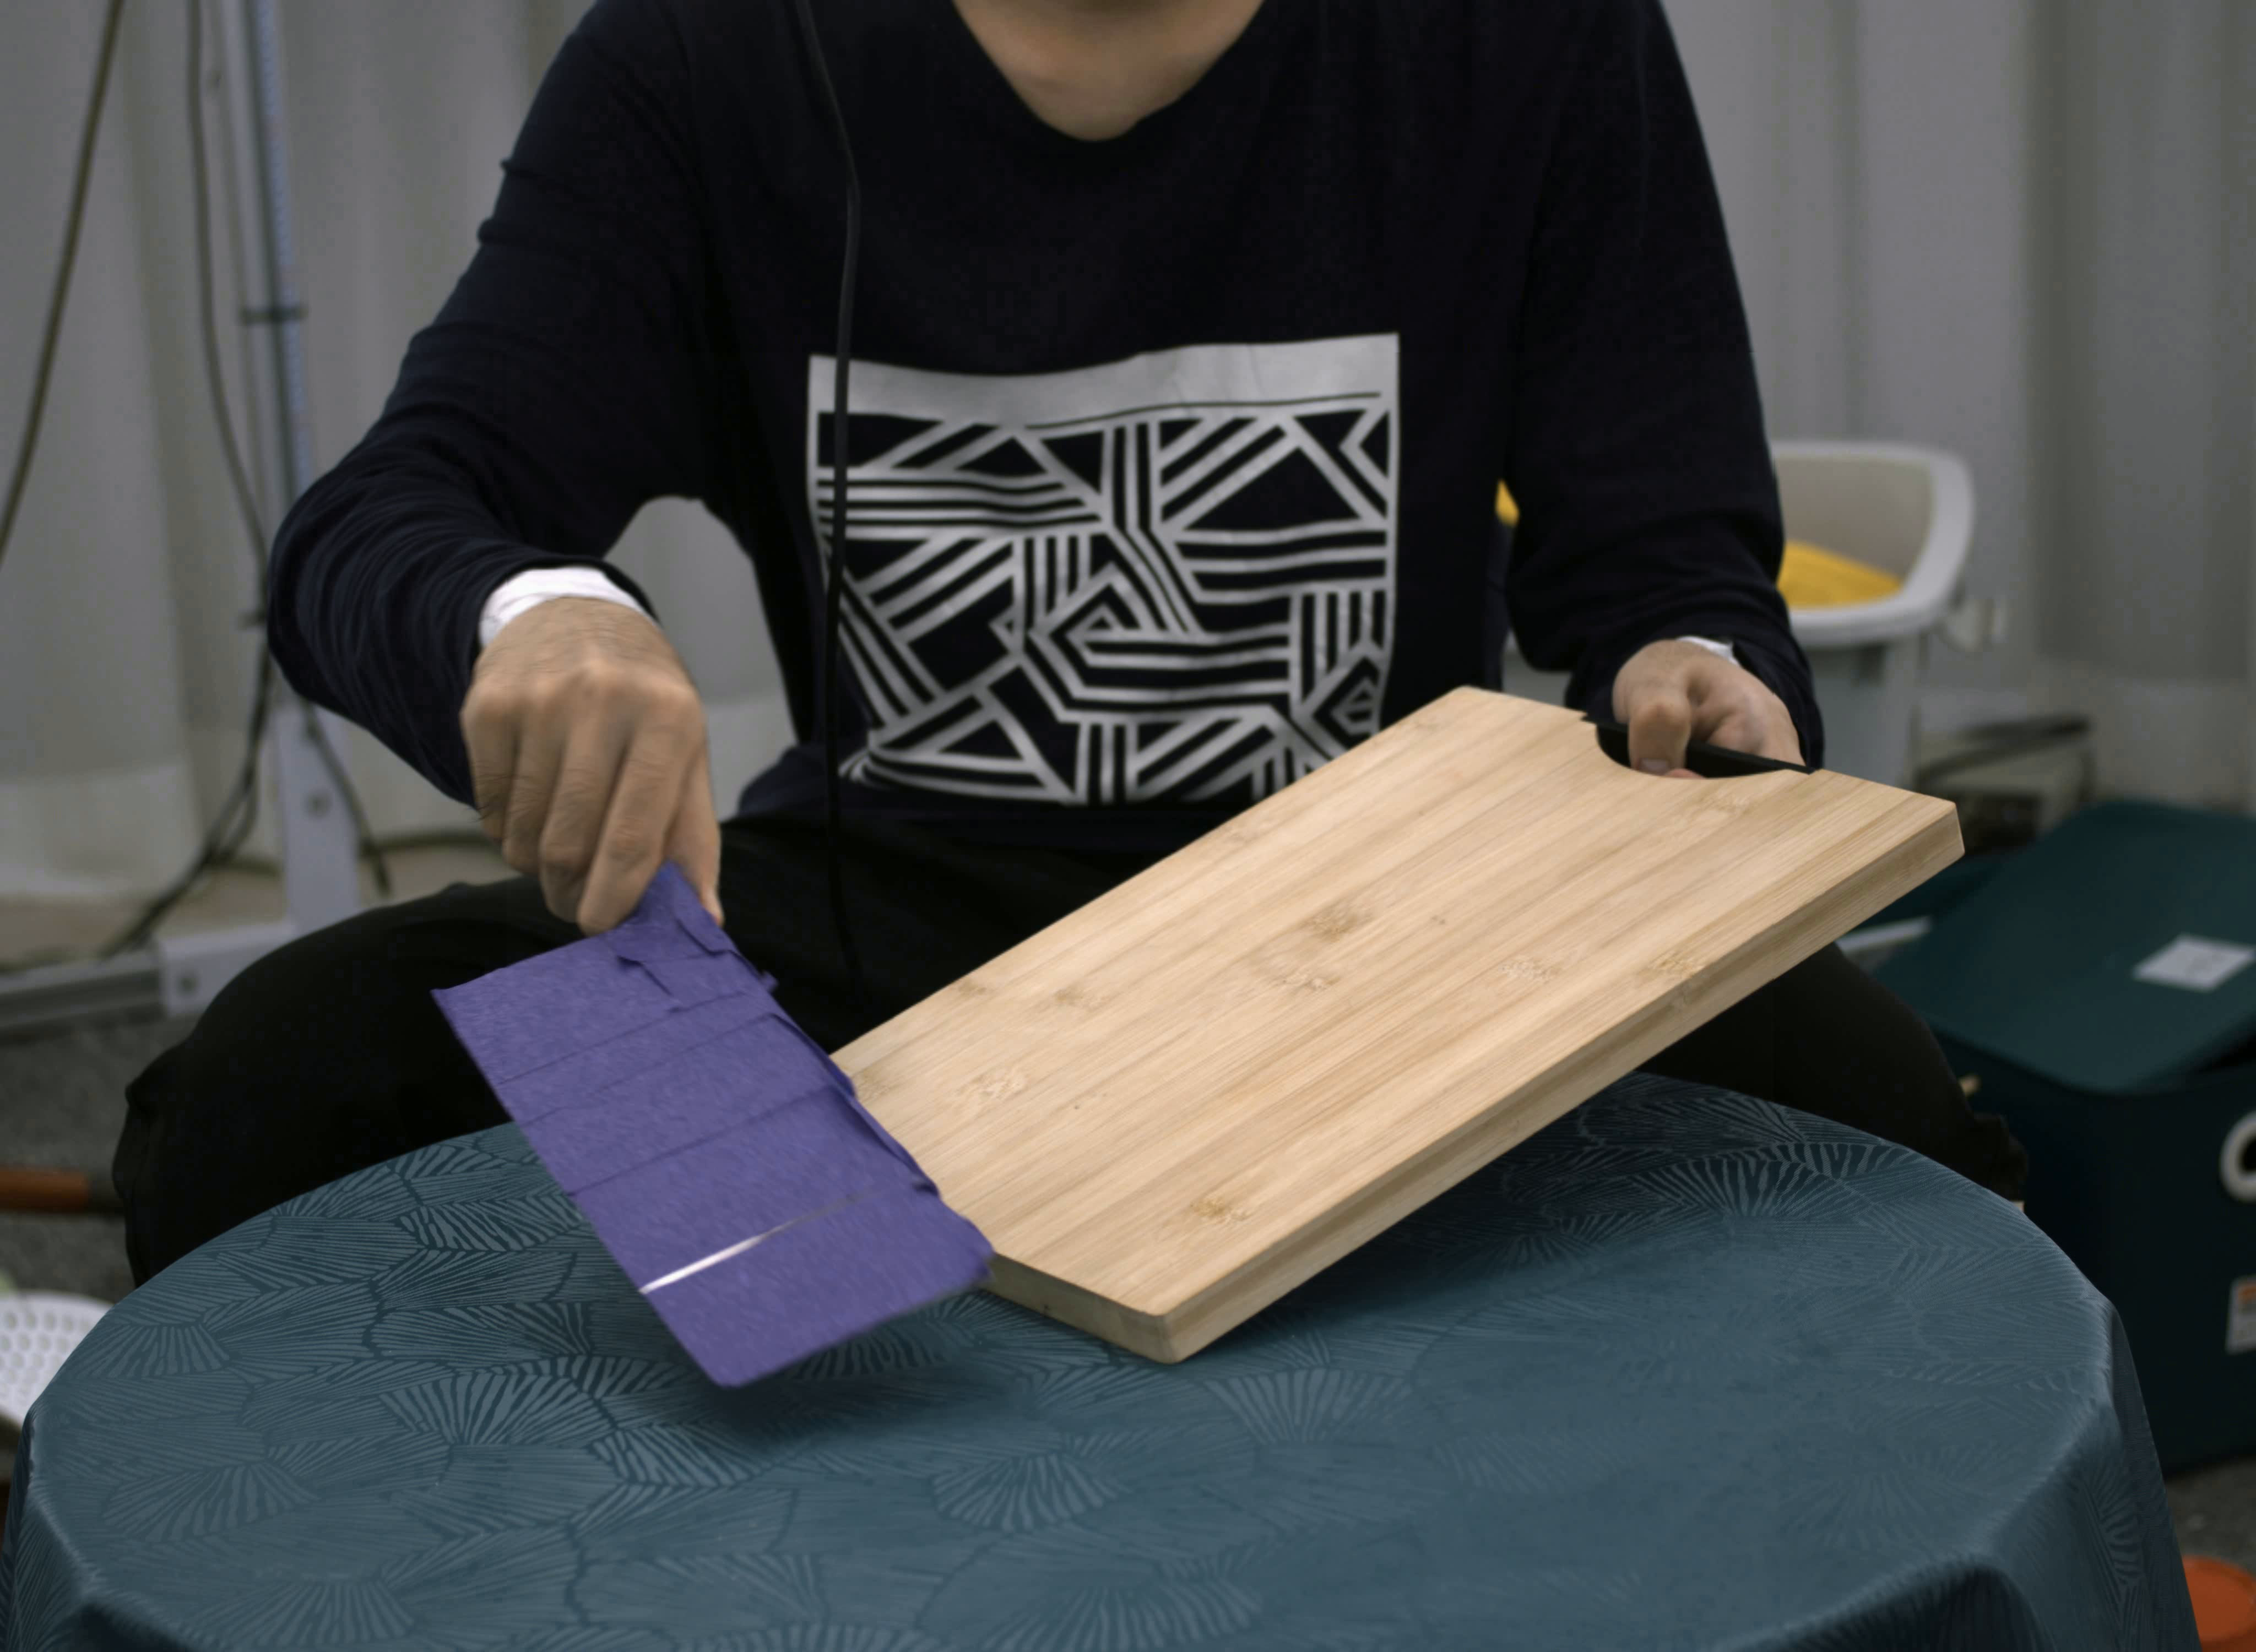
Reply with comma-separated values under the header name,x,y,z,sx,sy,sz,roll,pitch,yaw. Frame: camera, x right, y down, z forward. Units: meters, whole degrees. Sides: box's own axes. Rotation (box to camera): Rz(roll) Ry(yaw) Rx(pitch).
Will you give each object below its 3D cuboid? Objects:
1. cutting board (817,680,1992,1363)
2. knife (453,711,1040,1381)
name,x,y,z,sx,sy,sz,roll,pitch,yaw
cutting board,0.069,0.052,1.739,0.349,0.023,0.252,-30,27,-30
knife,-0.144,0.060,1.637,0.103,0.032,0.319,-19,37,-22
